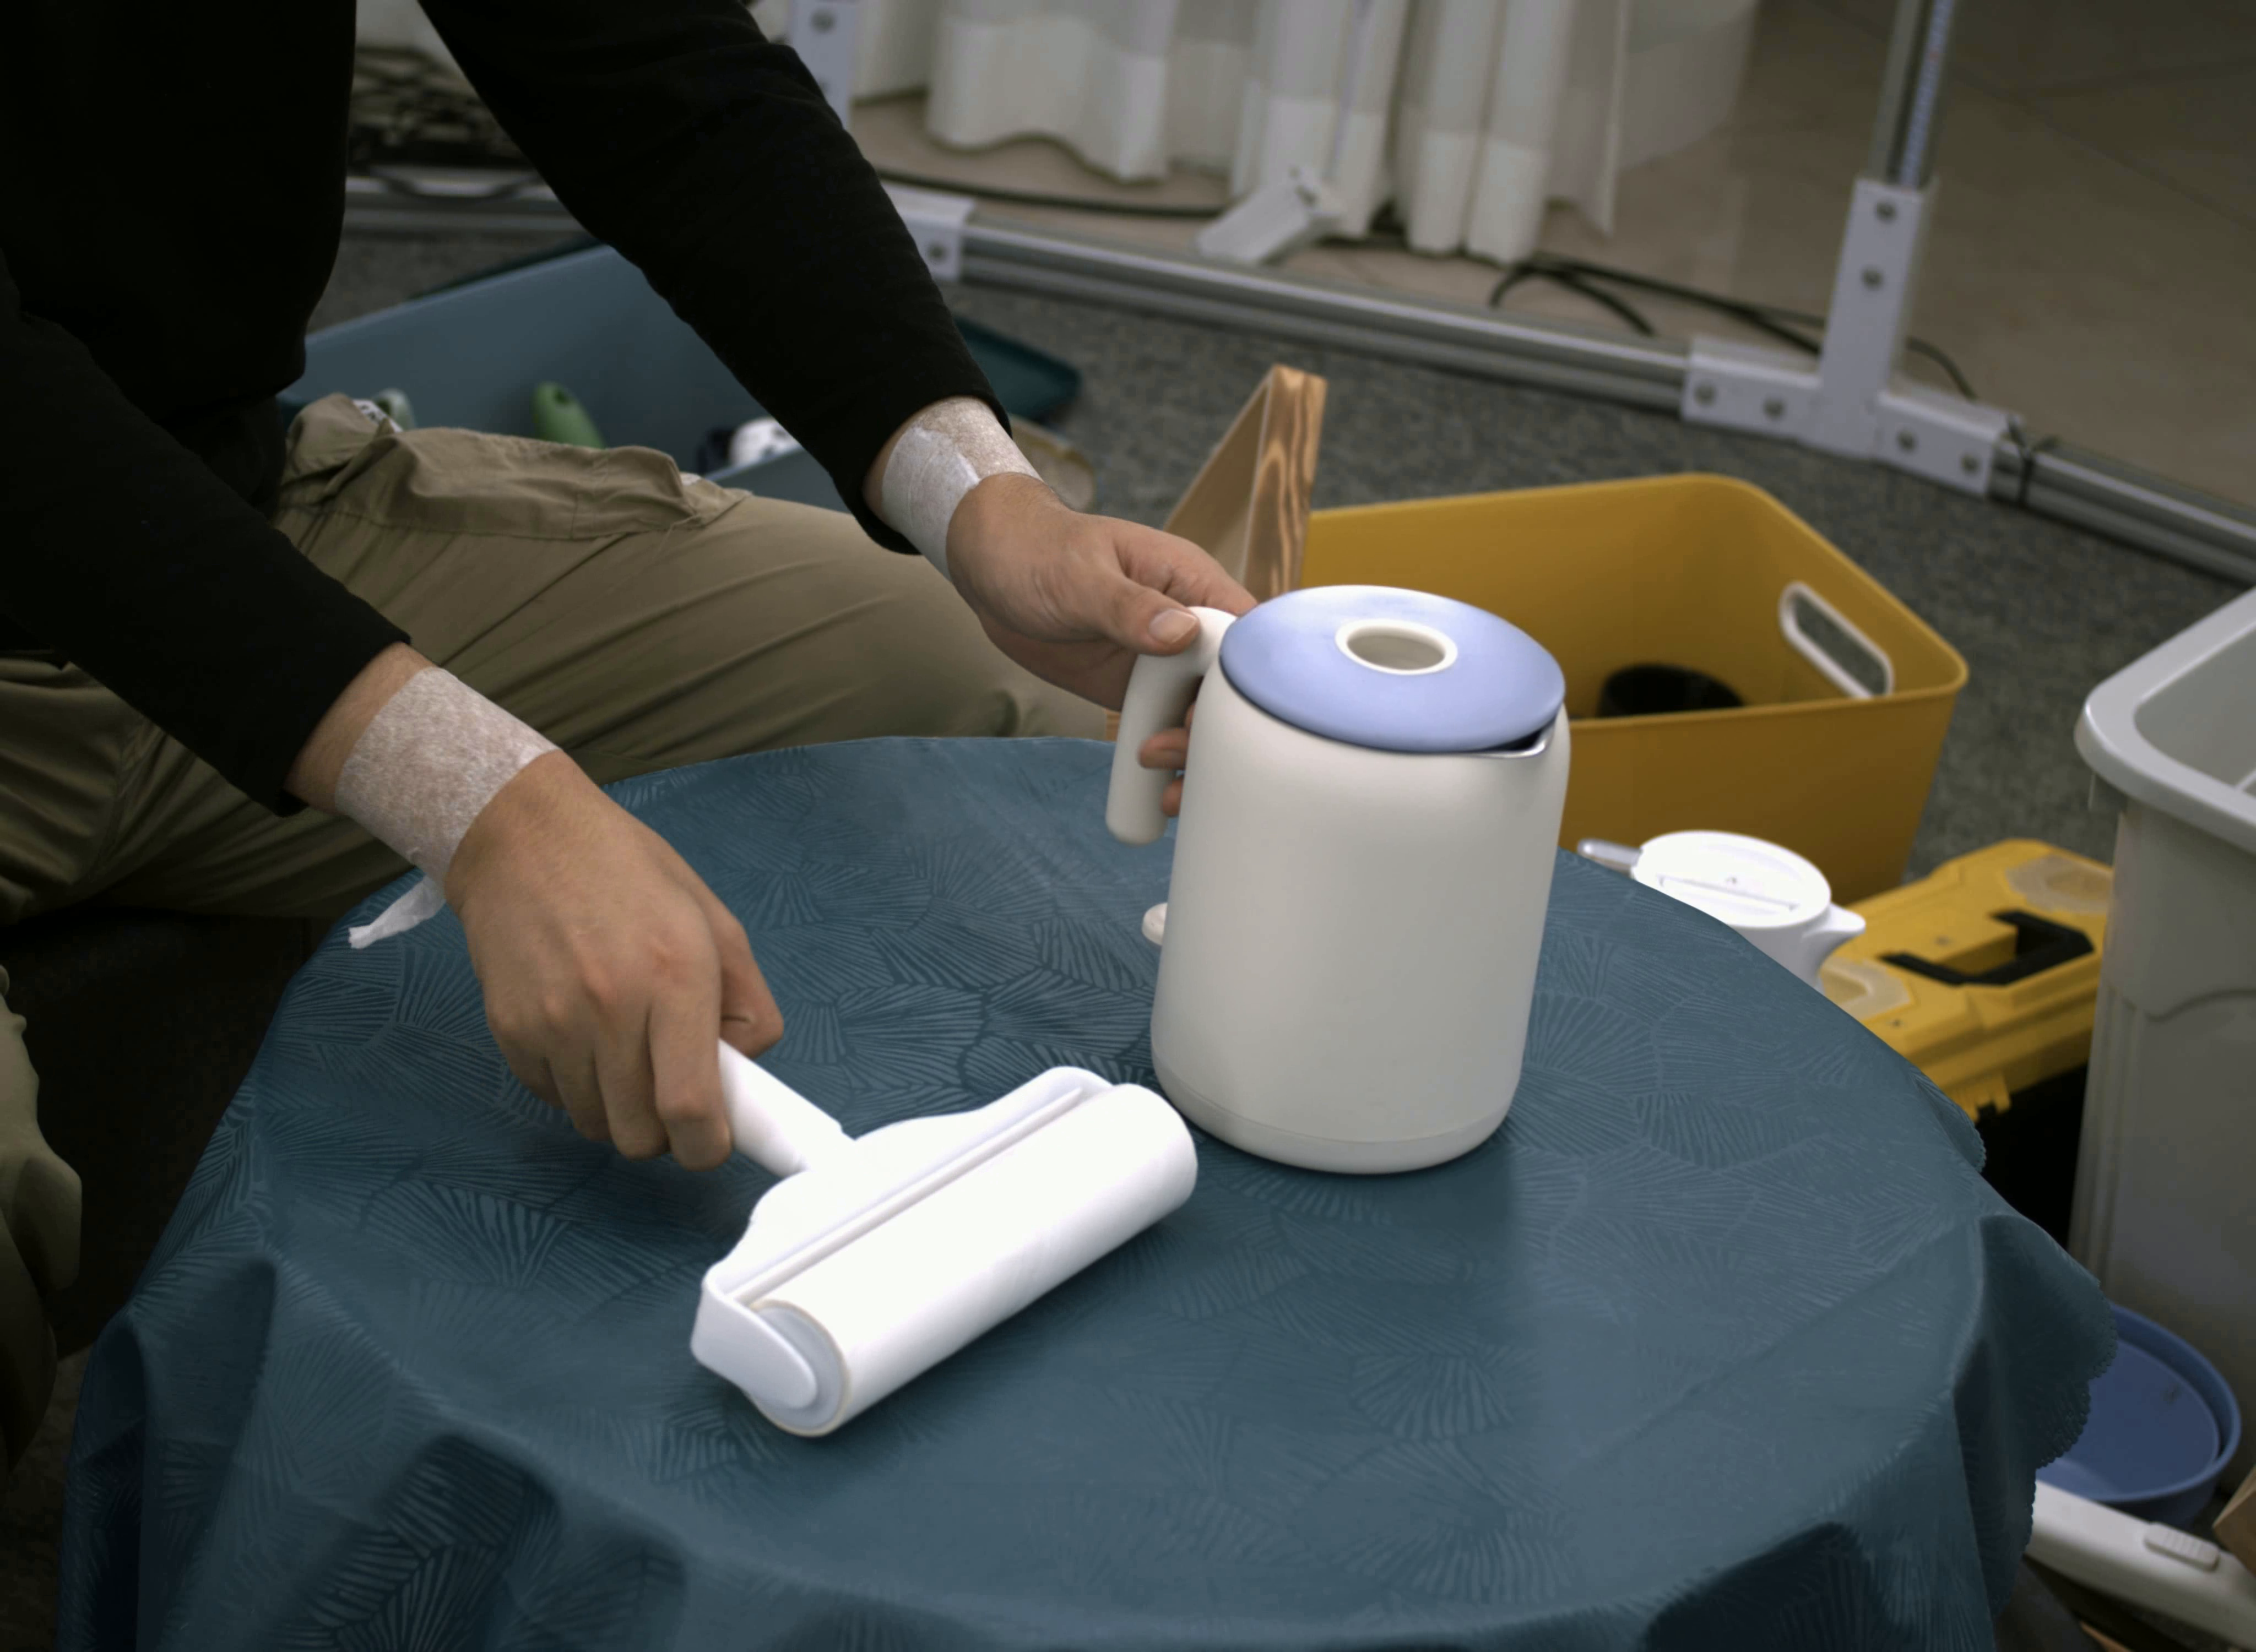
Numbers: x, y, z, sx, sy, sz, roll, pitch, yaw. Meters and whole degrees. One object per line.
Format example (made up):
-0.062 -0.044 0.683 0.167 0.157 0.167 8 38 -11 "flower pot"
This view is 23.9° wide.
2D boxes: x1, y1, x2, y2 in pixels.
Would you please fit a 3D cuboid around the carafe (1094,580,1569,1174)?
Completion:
0.063 0.008 1.854 0.192 0.182 0.131 26 32 37 "carafe"

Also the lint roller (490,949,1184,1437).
-0.121 0.094 1.746 0.227 0.048 0.202 32 36 23 "lint roller"
